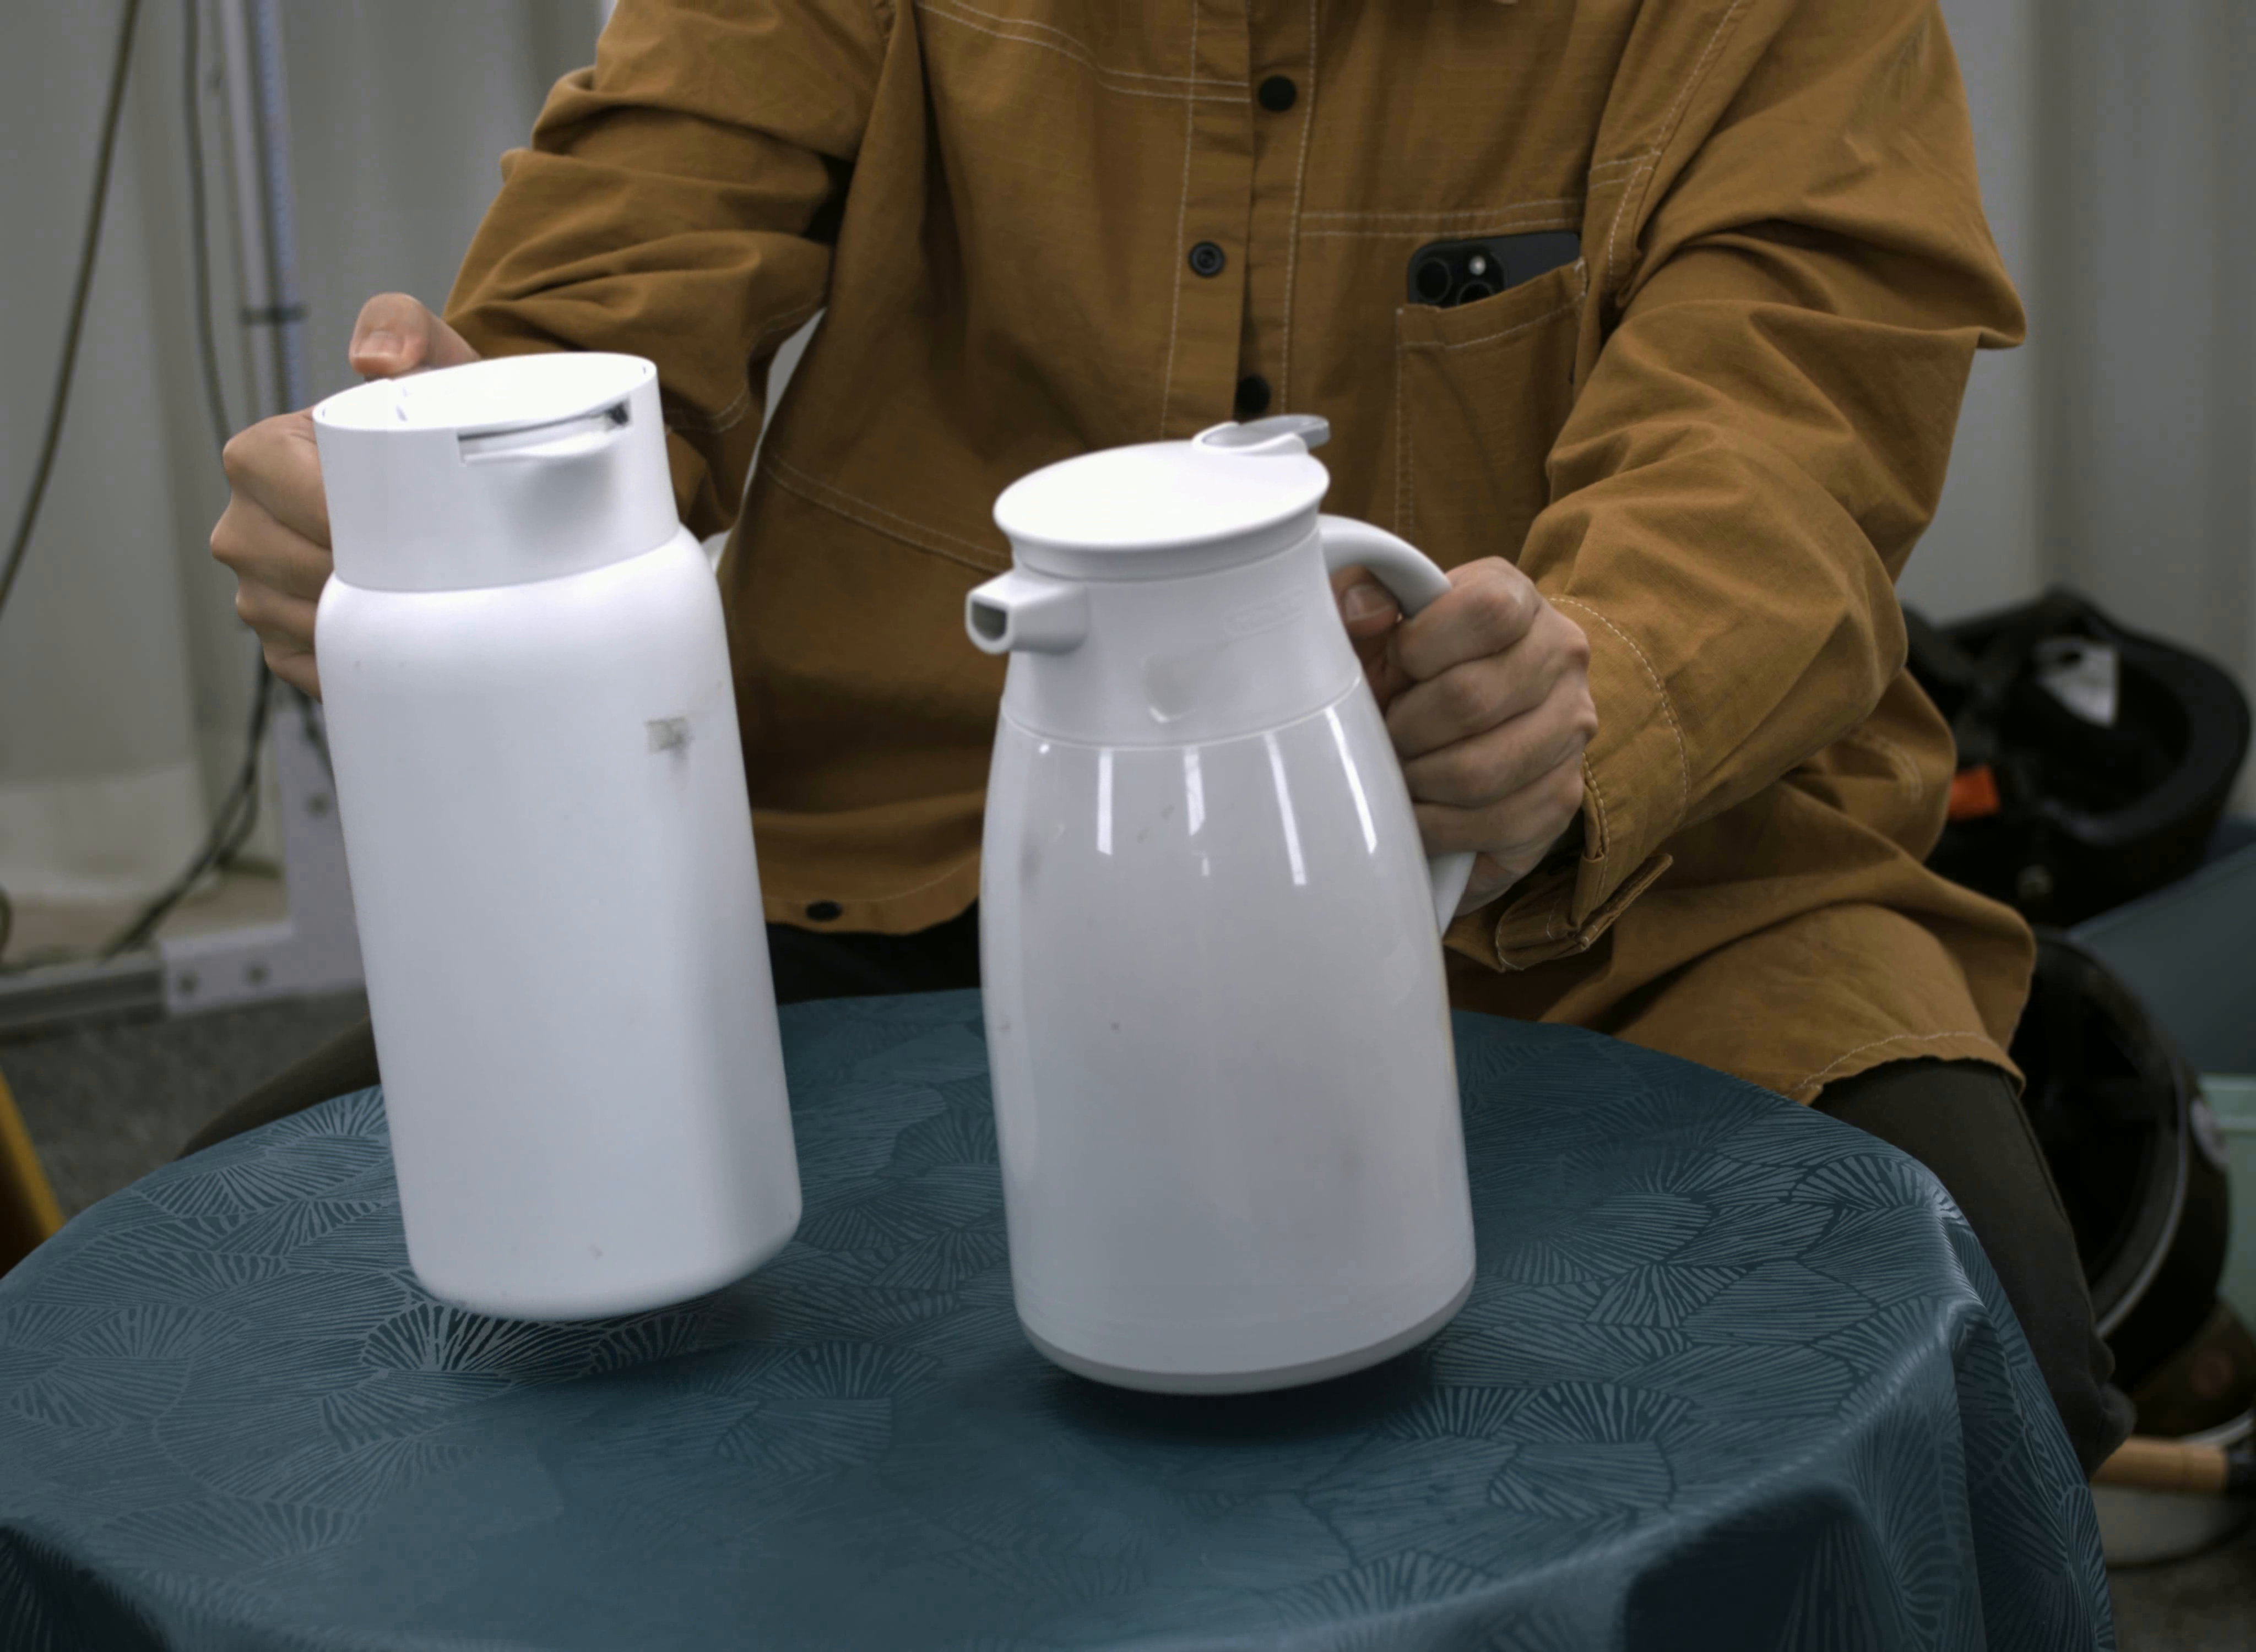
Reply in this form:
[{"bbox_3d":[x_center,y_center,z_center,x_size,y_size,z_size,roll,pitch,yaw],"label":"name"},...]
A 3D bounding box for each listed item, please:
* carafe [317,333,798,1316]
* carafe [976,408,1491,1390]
[{"bbox_3d":[-0.177,-0.003,1.597,0.123,0.268,0.174,-16,17,-28],"label":"carafe"},{"bbox_3d":[0.035,0.010,1.525,0.167,0.247,0.133,-19,23,-36],"label":"carafe"}]
